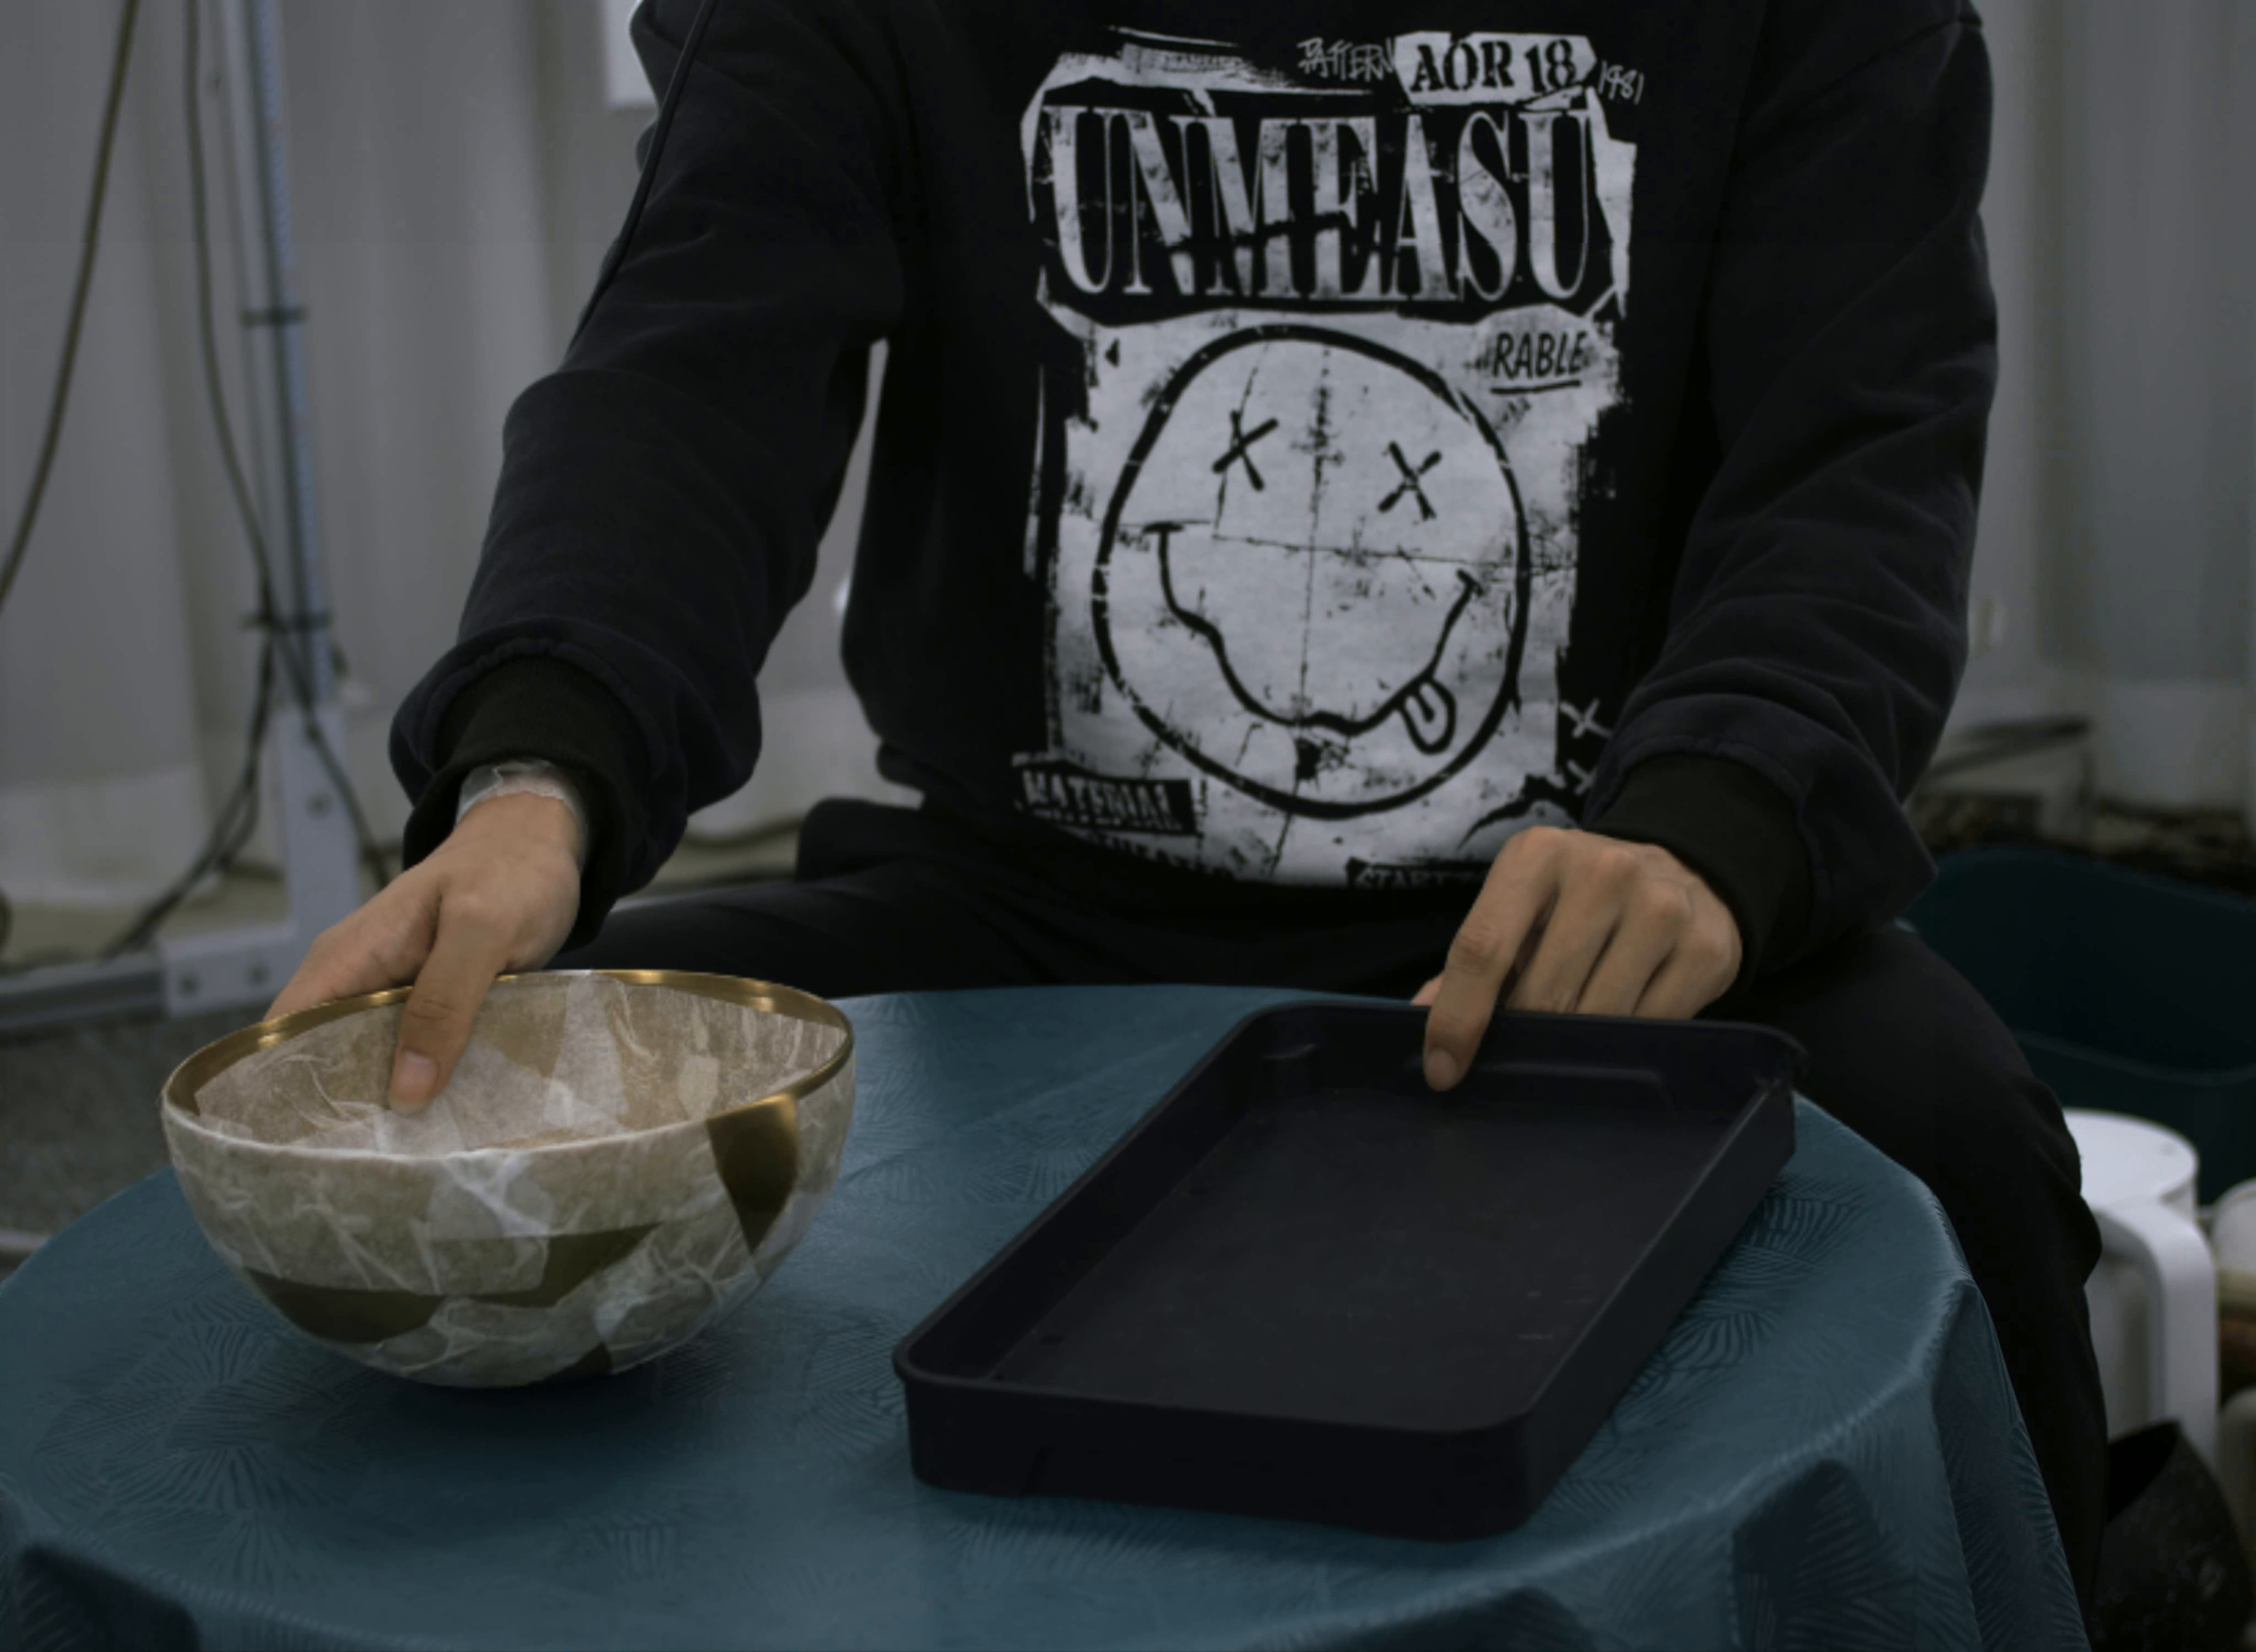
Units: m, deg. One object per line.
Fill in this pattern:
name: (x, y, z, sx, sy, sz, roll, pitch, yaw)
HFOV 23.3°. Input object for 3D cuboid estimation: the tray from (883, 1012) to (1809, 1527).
tray: (0.072, 0.121, 1.581, 0.184, 0.037, 0.319, 2, 17, 23)

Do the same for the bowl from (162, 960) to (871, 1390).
bowl: (-0.172, 0.109, 1.588, 0.214, 0.094, 0.216, -4, 12, 1)
